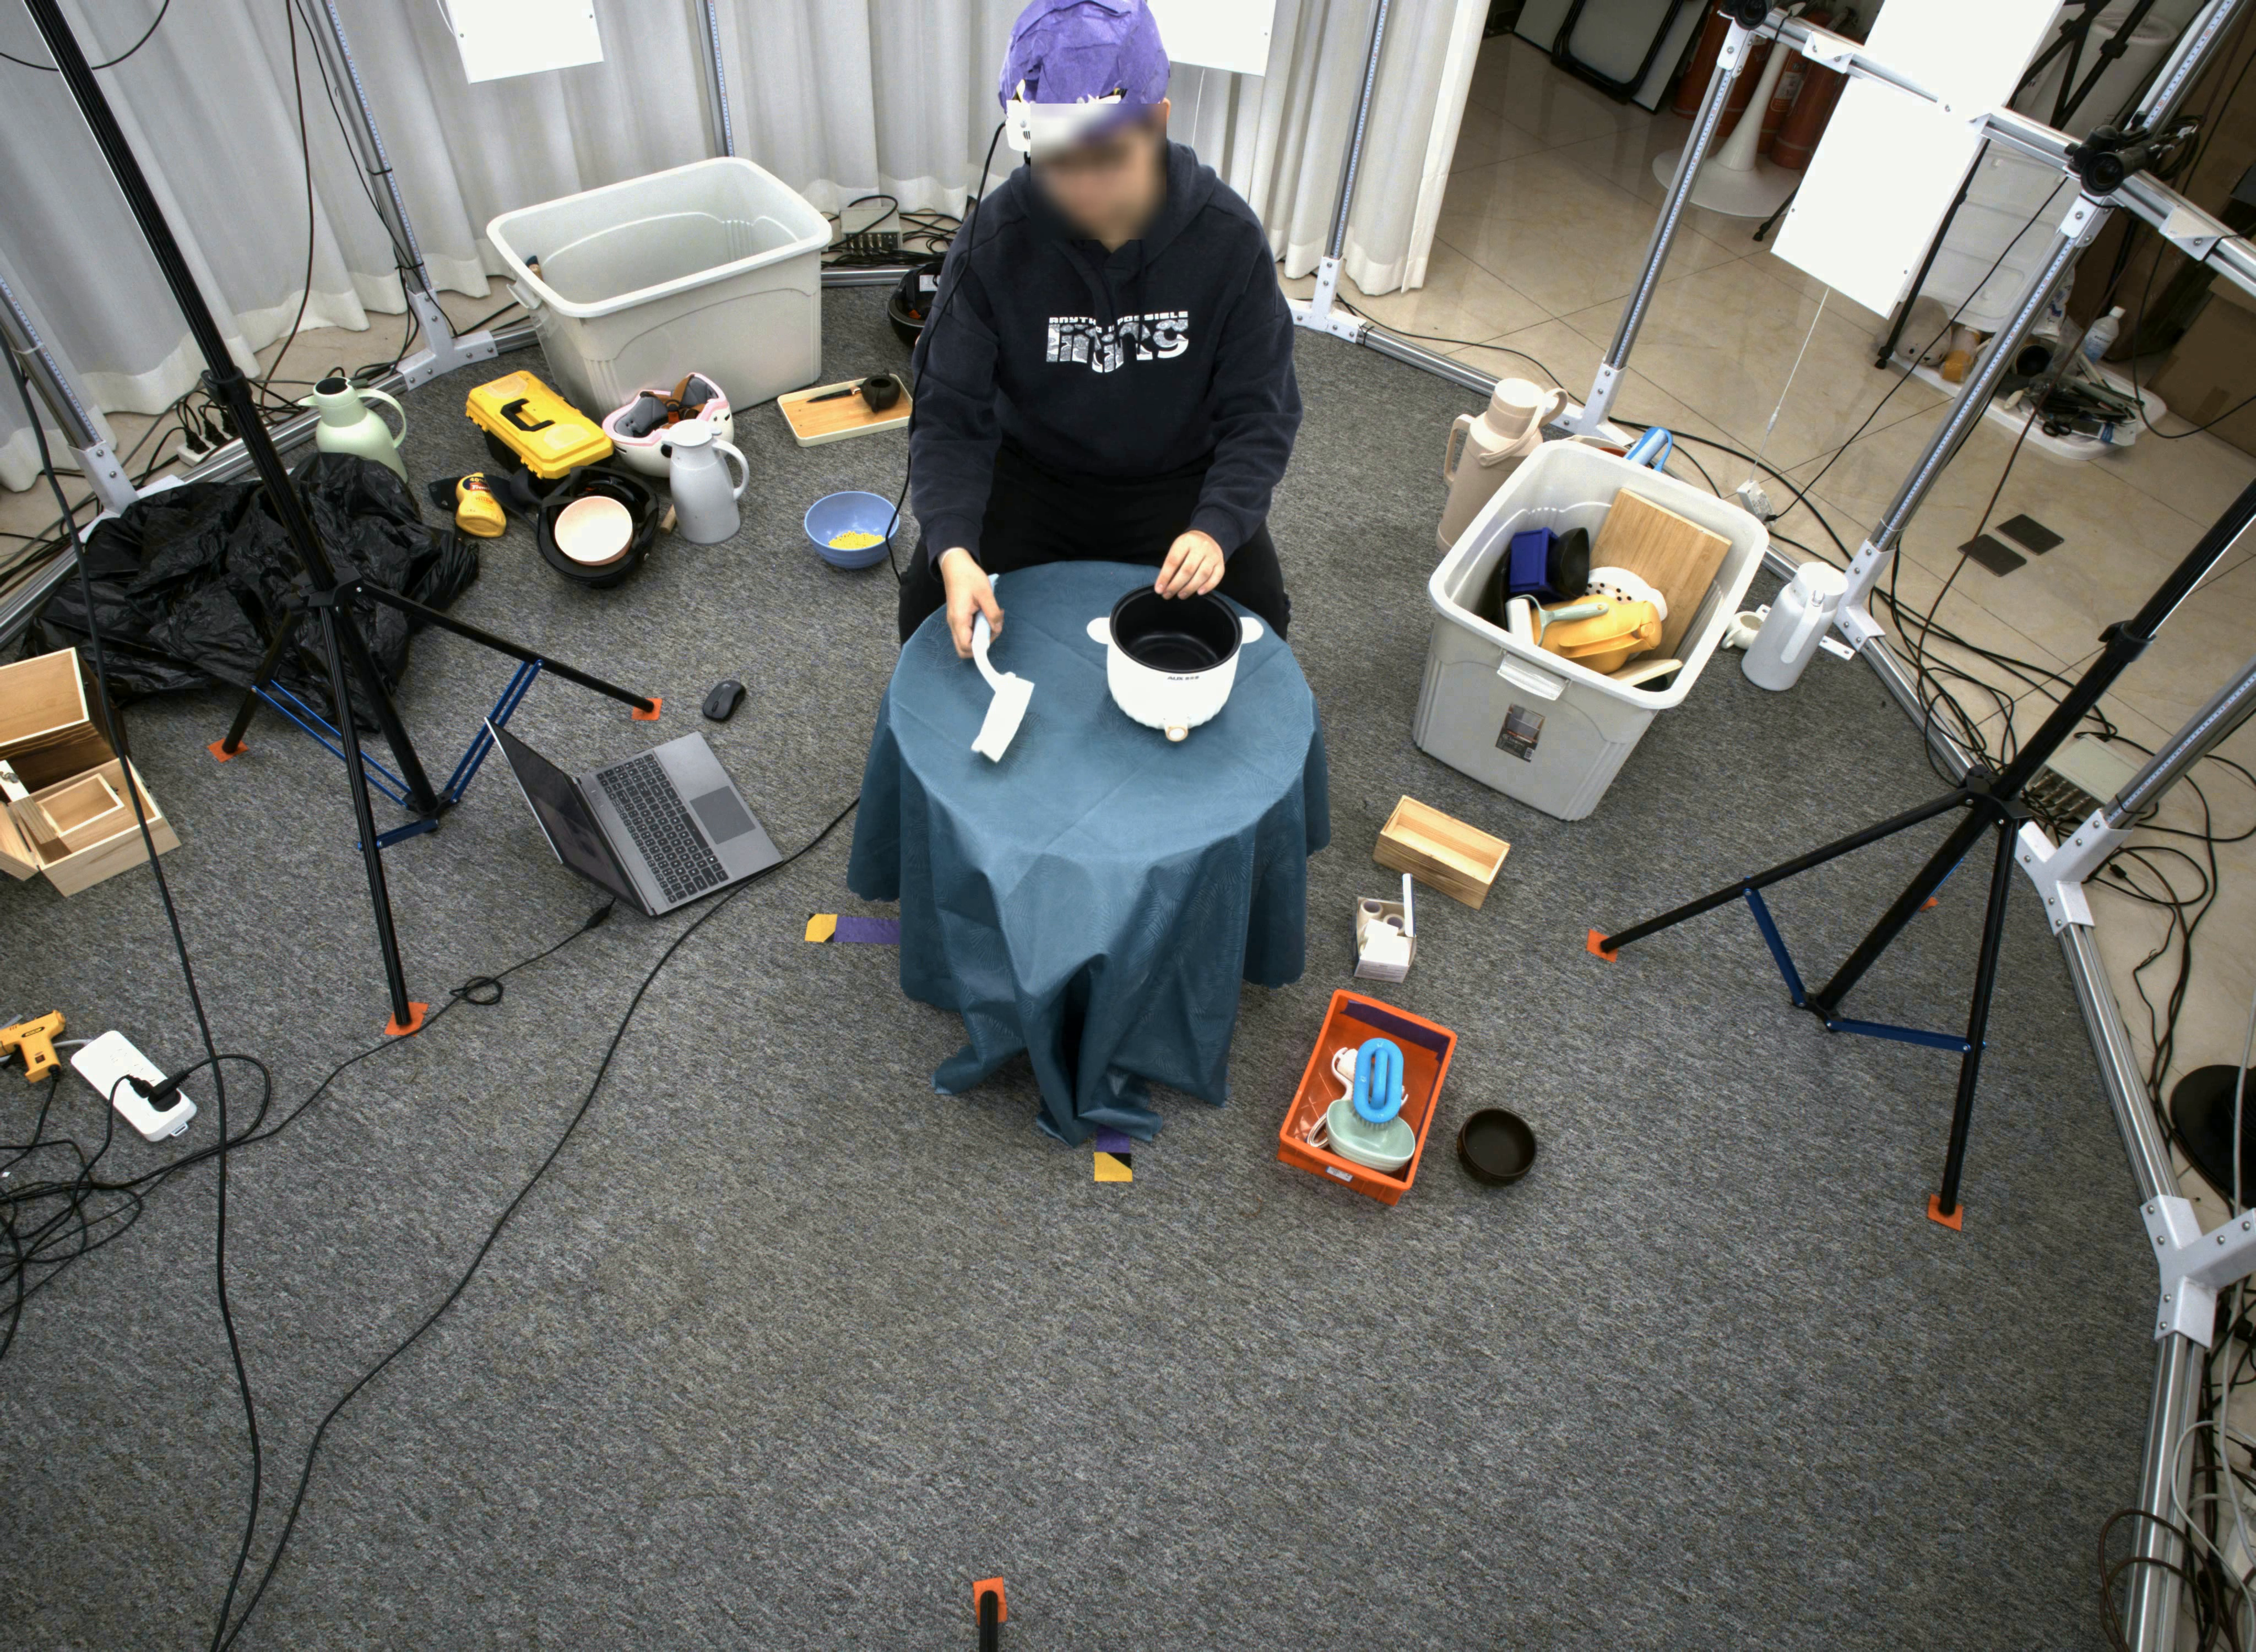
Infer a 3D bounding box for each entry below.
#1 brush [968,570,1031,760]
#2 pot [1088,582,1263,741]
[{"bbox_3d":[-0.169,-0.230,1.791,0.083,0.083,0.333,-19,50,27],"label":"brush"},{"bbox_3d":[0.062,-0.225,1.775,0.240,0.139,0.195,-2,46,-5],"label":"pot"}]
